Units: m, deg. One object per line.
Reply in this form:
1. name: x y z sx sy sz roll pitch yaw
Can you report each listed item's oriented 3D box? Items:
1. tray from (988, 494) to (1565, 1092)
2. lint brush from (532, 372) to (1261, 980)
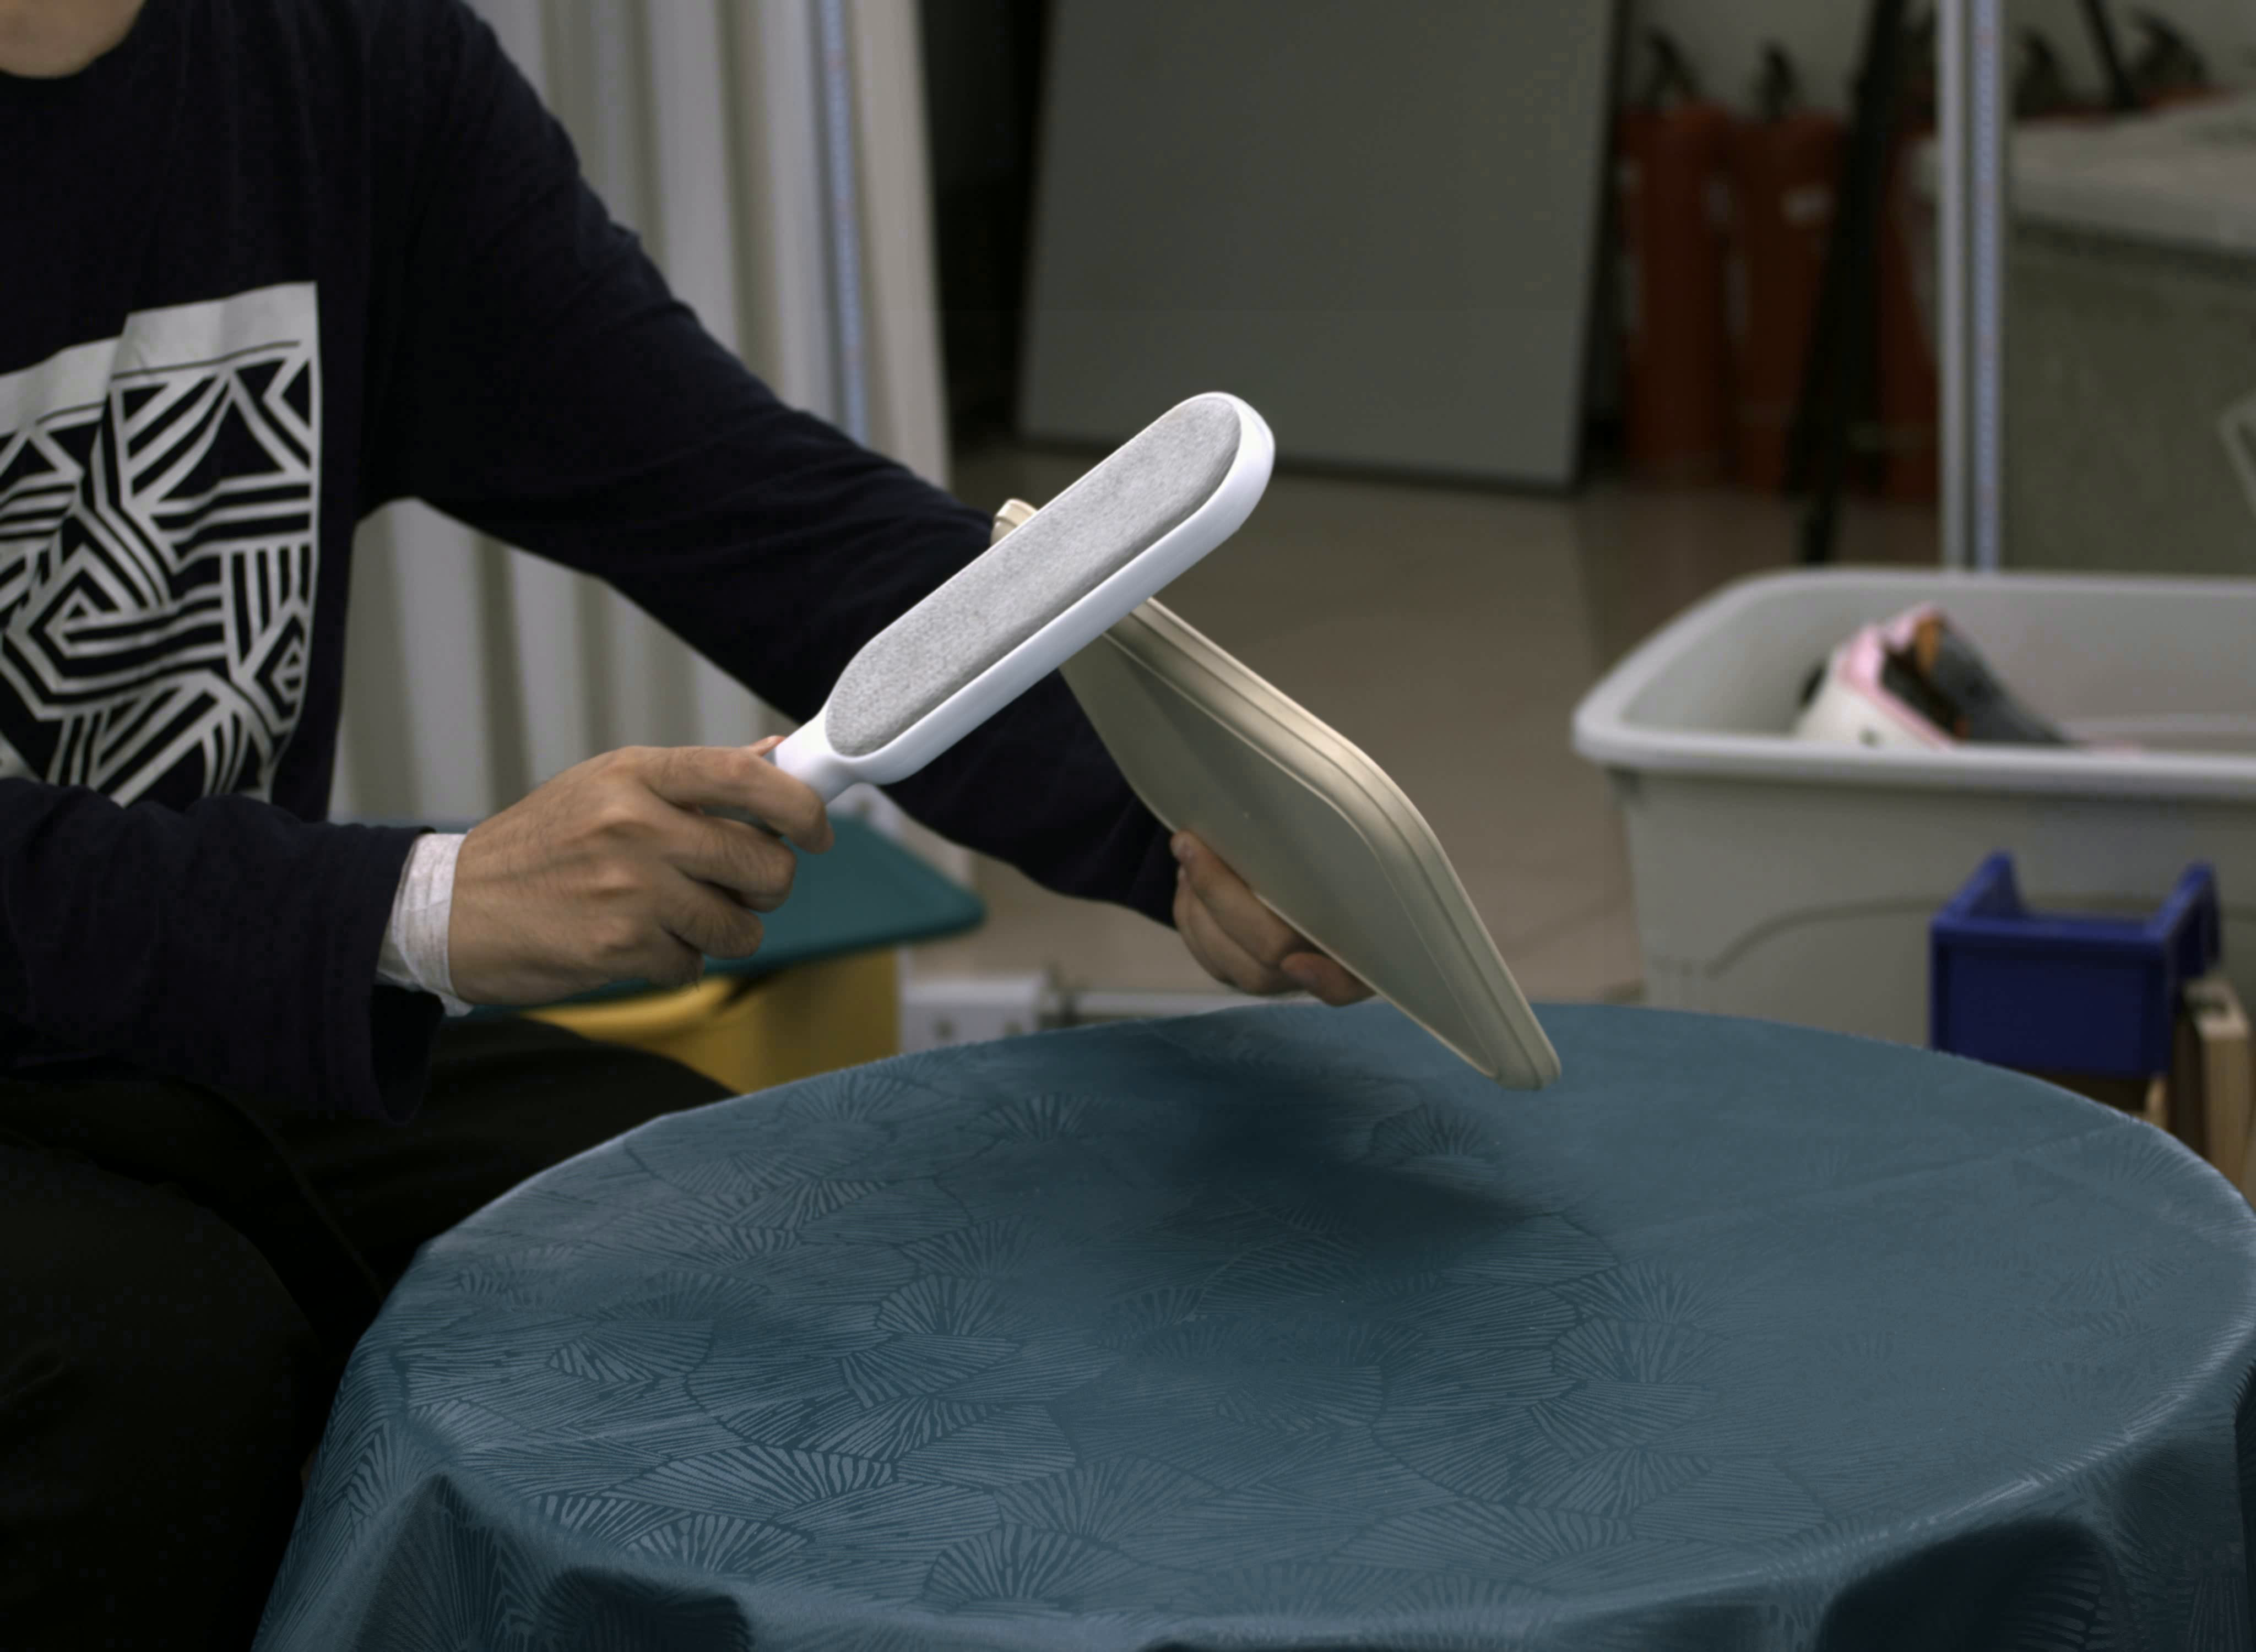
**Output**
1. tray: 0.044 -0.009 1.751 0.017 0.170 0.242 -41 43 -10
2. lint brush: -0.076 -0.043 1.700 0.310 0.020 0.061 -37 42 23
